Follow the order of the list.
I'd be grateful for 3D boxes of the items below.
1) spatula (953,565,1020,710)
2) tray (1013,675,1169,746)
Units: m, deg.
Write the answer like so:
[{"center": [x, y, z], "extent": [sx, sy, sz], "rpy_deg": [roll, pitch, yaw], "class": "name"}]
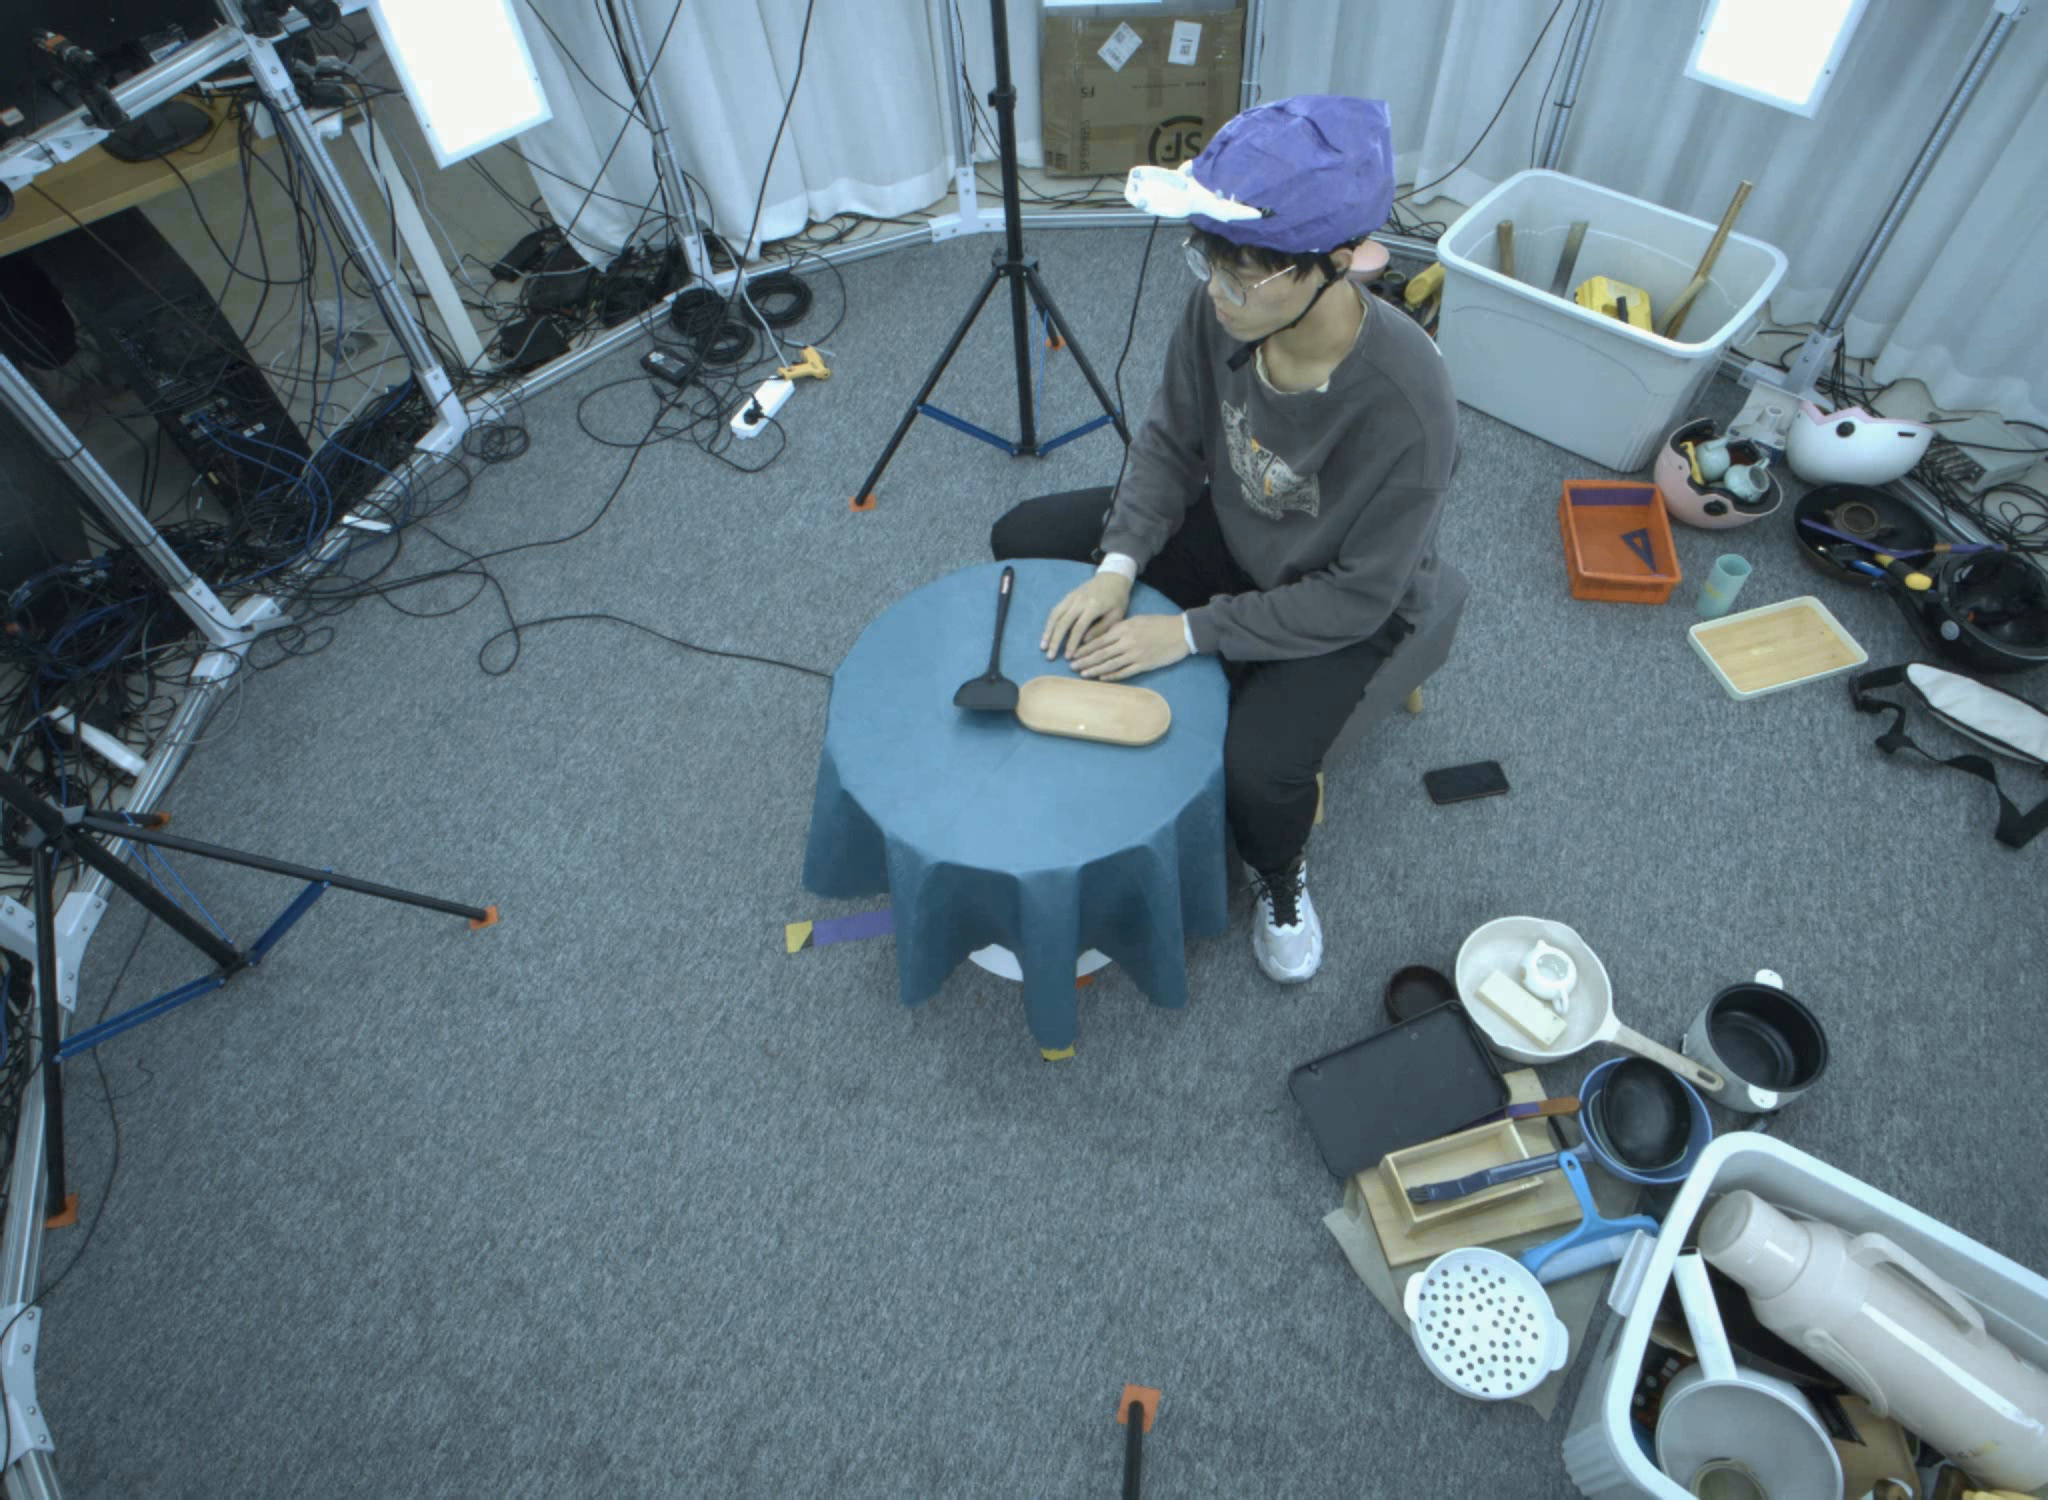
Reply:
[{"center": [-0.041, -0.178, 1.892], "extent": [0.099, 0.041, 0.323], "rpy_deg": [4, 55, 3], "class": "spatula"}, {"center": [0.098, -0.058, 1.813], "extent": [0.229, 0.020, 0.101], "rpy_deg": [8, 54, 9], "class": "tray"}]
